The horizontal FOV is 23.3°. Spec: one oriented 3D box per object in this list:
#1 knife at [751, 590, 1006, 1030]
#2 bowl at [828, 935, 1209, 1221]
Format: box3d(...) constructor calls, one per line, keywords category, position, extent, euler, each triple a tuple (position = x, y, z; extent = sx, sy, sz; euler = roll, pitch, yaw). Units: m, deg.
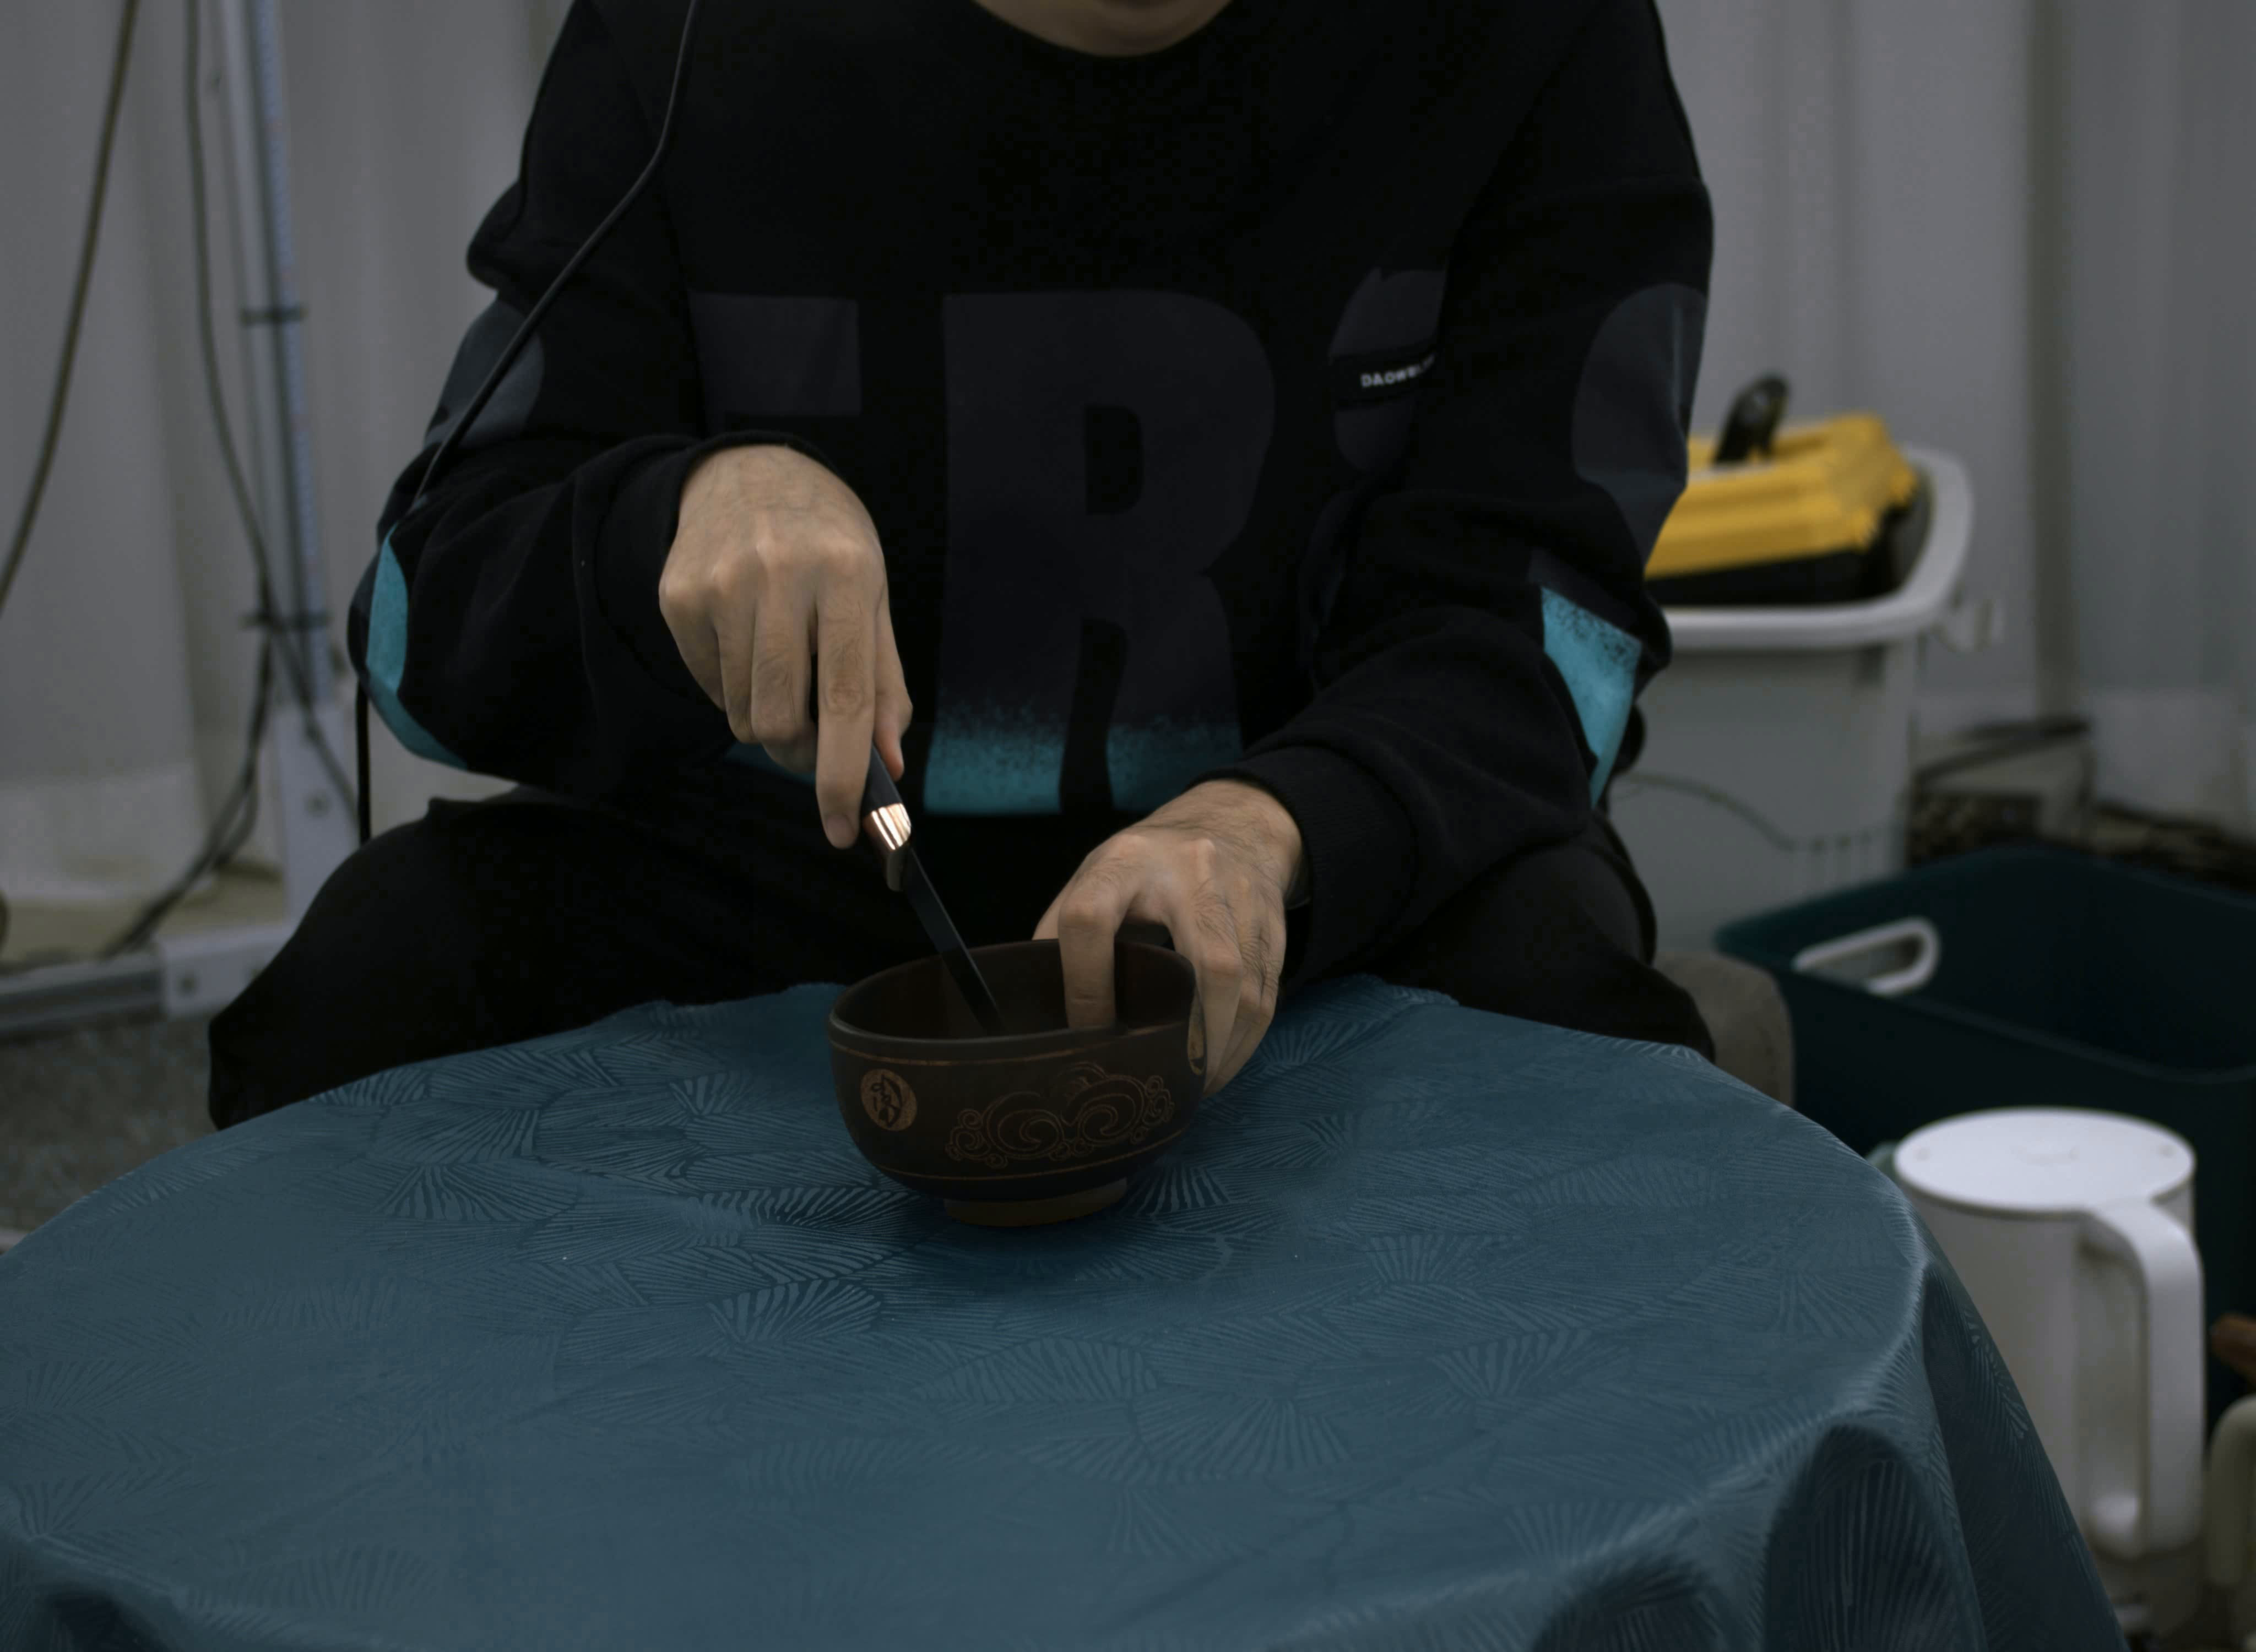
box3d(category="knife", position=(-0.069, 0.016, 1.743), extent=(0.017, 0.026, 0.228), euler=(-12, 58, -30))
box3d(category="bowl", position=(-0.033, 0.081, 1.697), extent=(0.117, 0.069, 0.119), euler=(-3, 13, 0))
